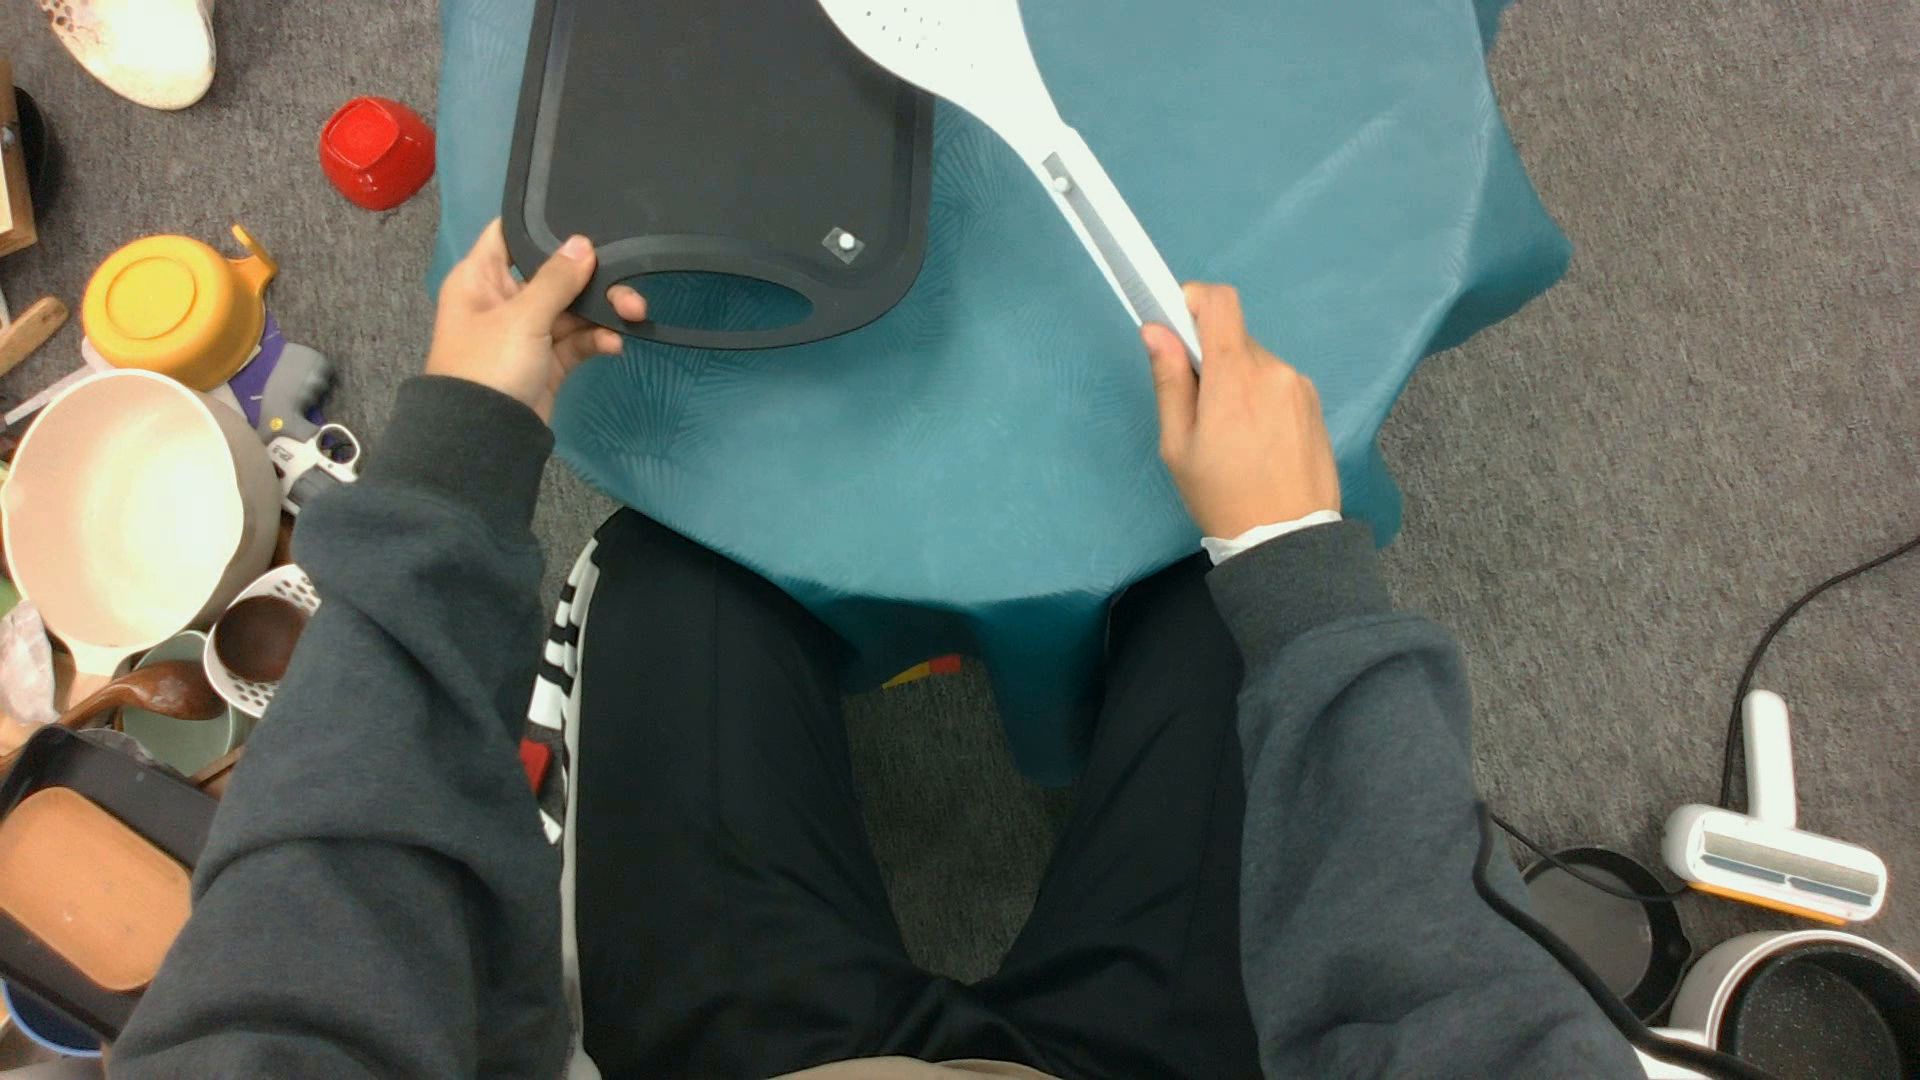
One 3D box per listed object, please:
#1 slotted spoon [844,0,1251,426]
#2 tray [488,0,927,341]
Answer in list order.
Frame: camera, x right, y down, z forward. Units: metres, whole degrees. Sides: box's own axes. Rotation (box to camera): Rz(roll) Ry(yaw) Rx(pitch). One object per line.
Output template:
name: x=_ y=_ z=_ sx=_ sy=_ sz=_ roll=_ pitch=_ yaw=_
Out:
slotted spoon: x=0.036 y=-0.204 z=0.642 sx=0.046 sy=0.135 sz=0.349 roll=-32 pitch=94 yaw=-34
tray: x=-0.124 y=-0.252 z=0.716 sx=0.211 sy=0.010 sz=0.326 roll=4 pitch=72 yaw=-5
